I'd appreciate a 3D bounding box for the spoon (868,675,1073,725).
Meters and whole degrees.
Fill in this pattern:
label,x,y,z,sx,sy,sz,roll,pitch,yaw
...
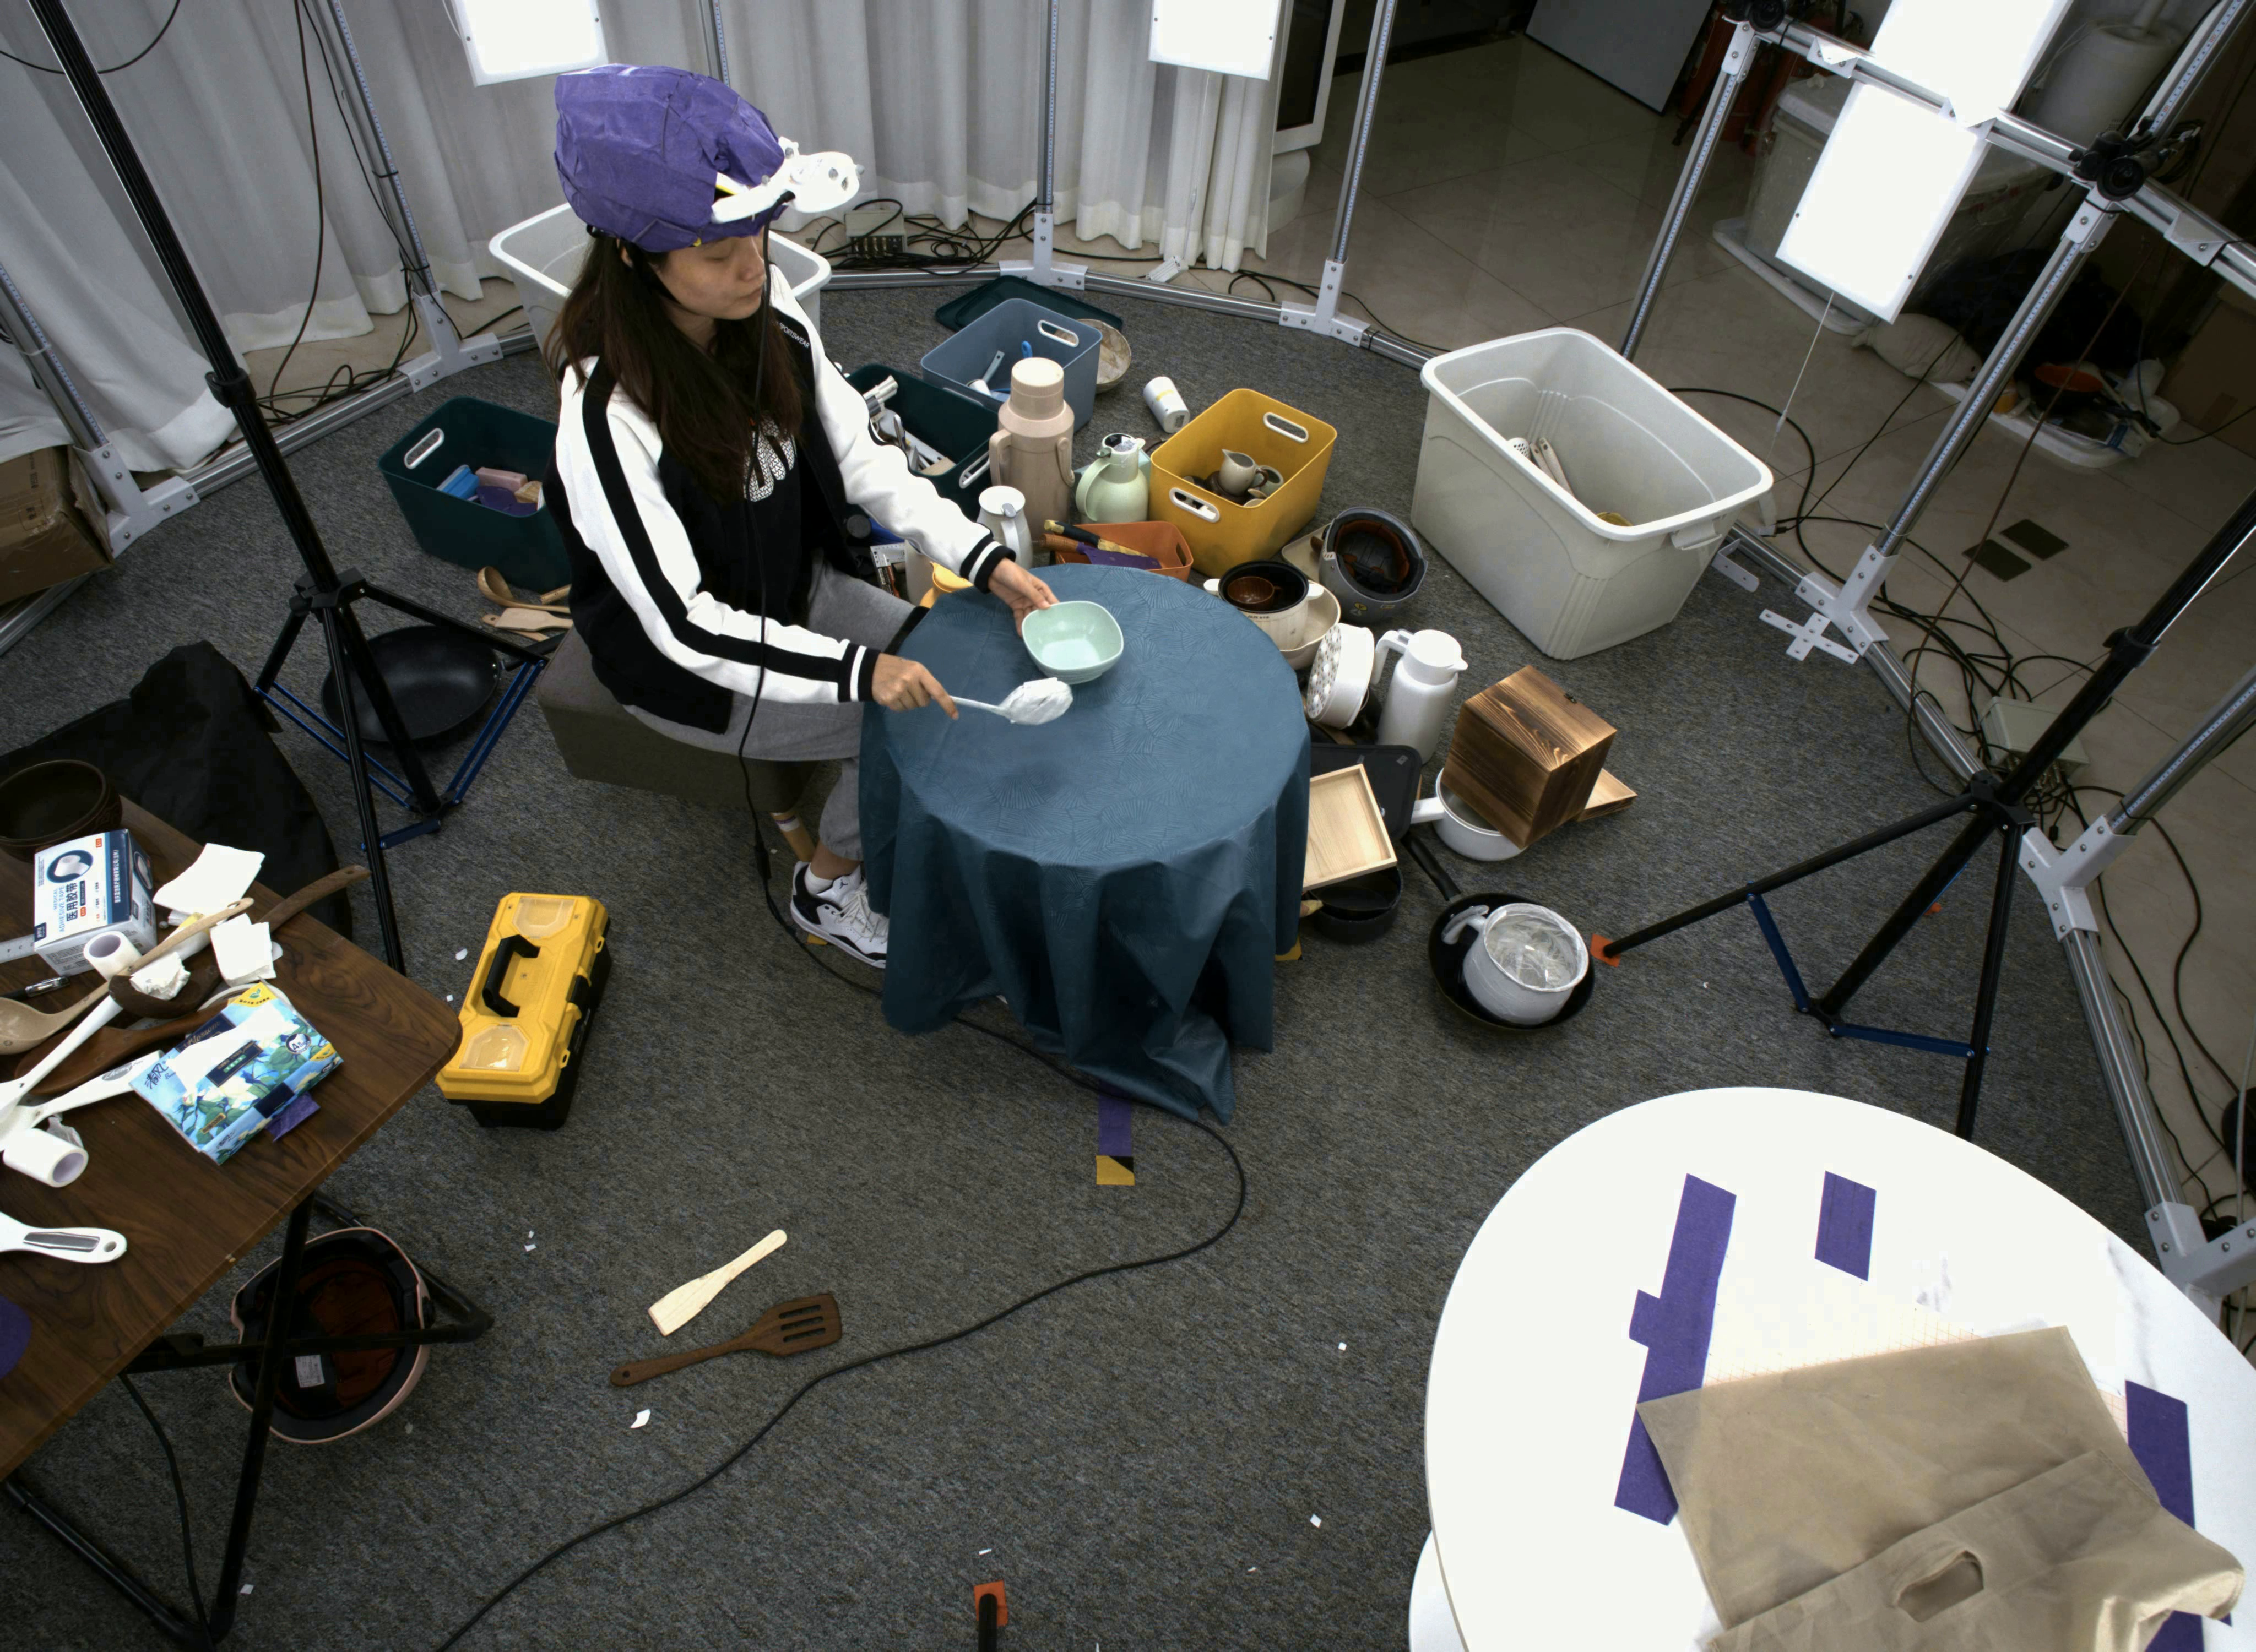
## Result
label,x,y,z,sx,sy,sz,roll,pitch,yaw
spoon,-0.210,-0.182,1.711,0.279,0.098,0.060,13,58,18

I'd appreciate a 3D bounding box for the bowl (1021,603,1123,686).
label,x,y,z,sx,sy,sz,roll,pitch,yaw
bowl,-0.081,-0.253,1.850,0.151,0.057,0.155,2,49,-3
